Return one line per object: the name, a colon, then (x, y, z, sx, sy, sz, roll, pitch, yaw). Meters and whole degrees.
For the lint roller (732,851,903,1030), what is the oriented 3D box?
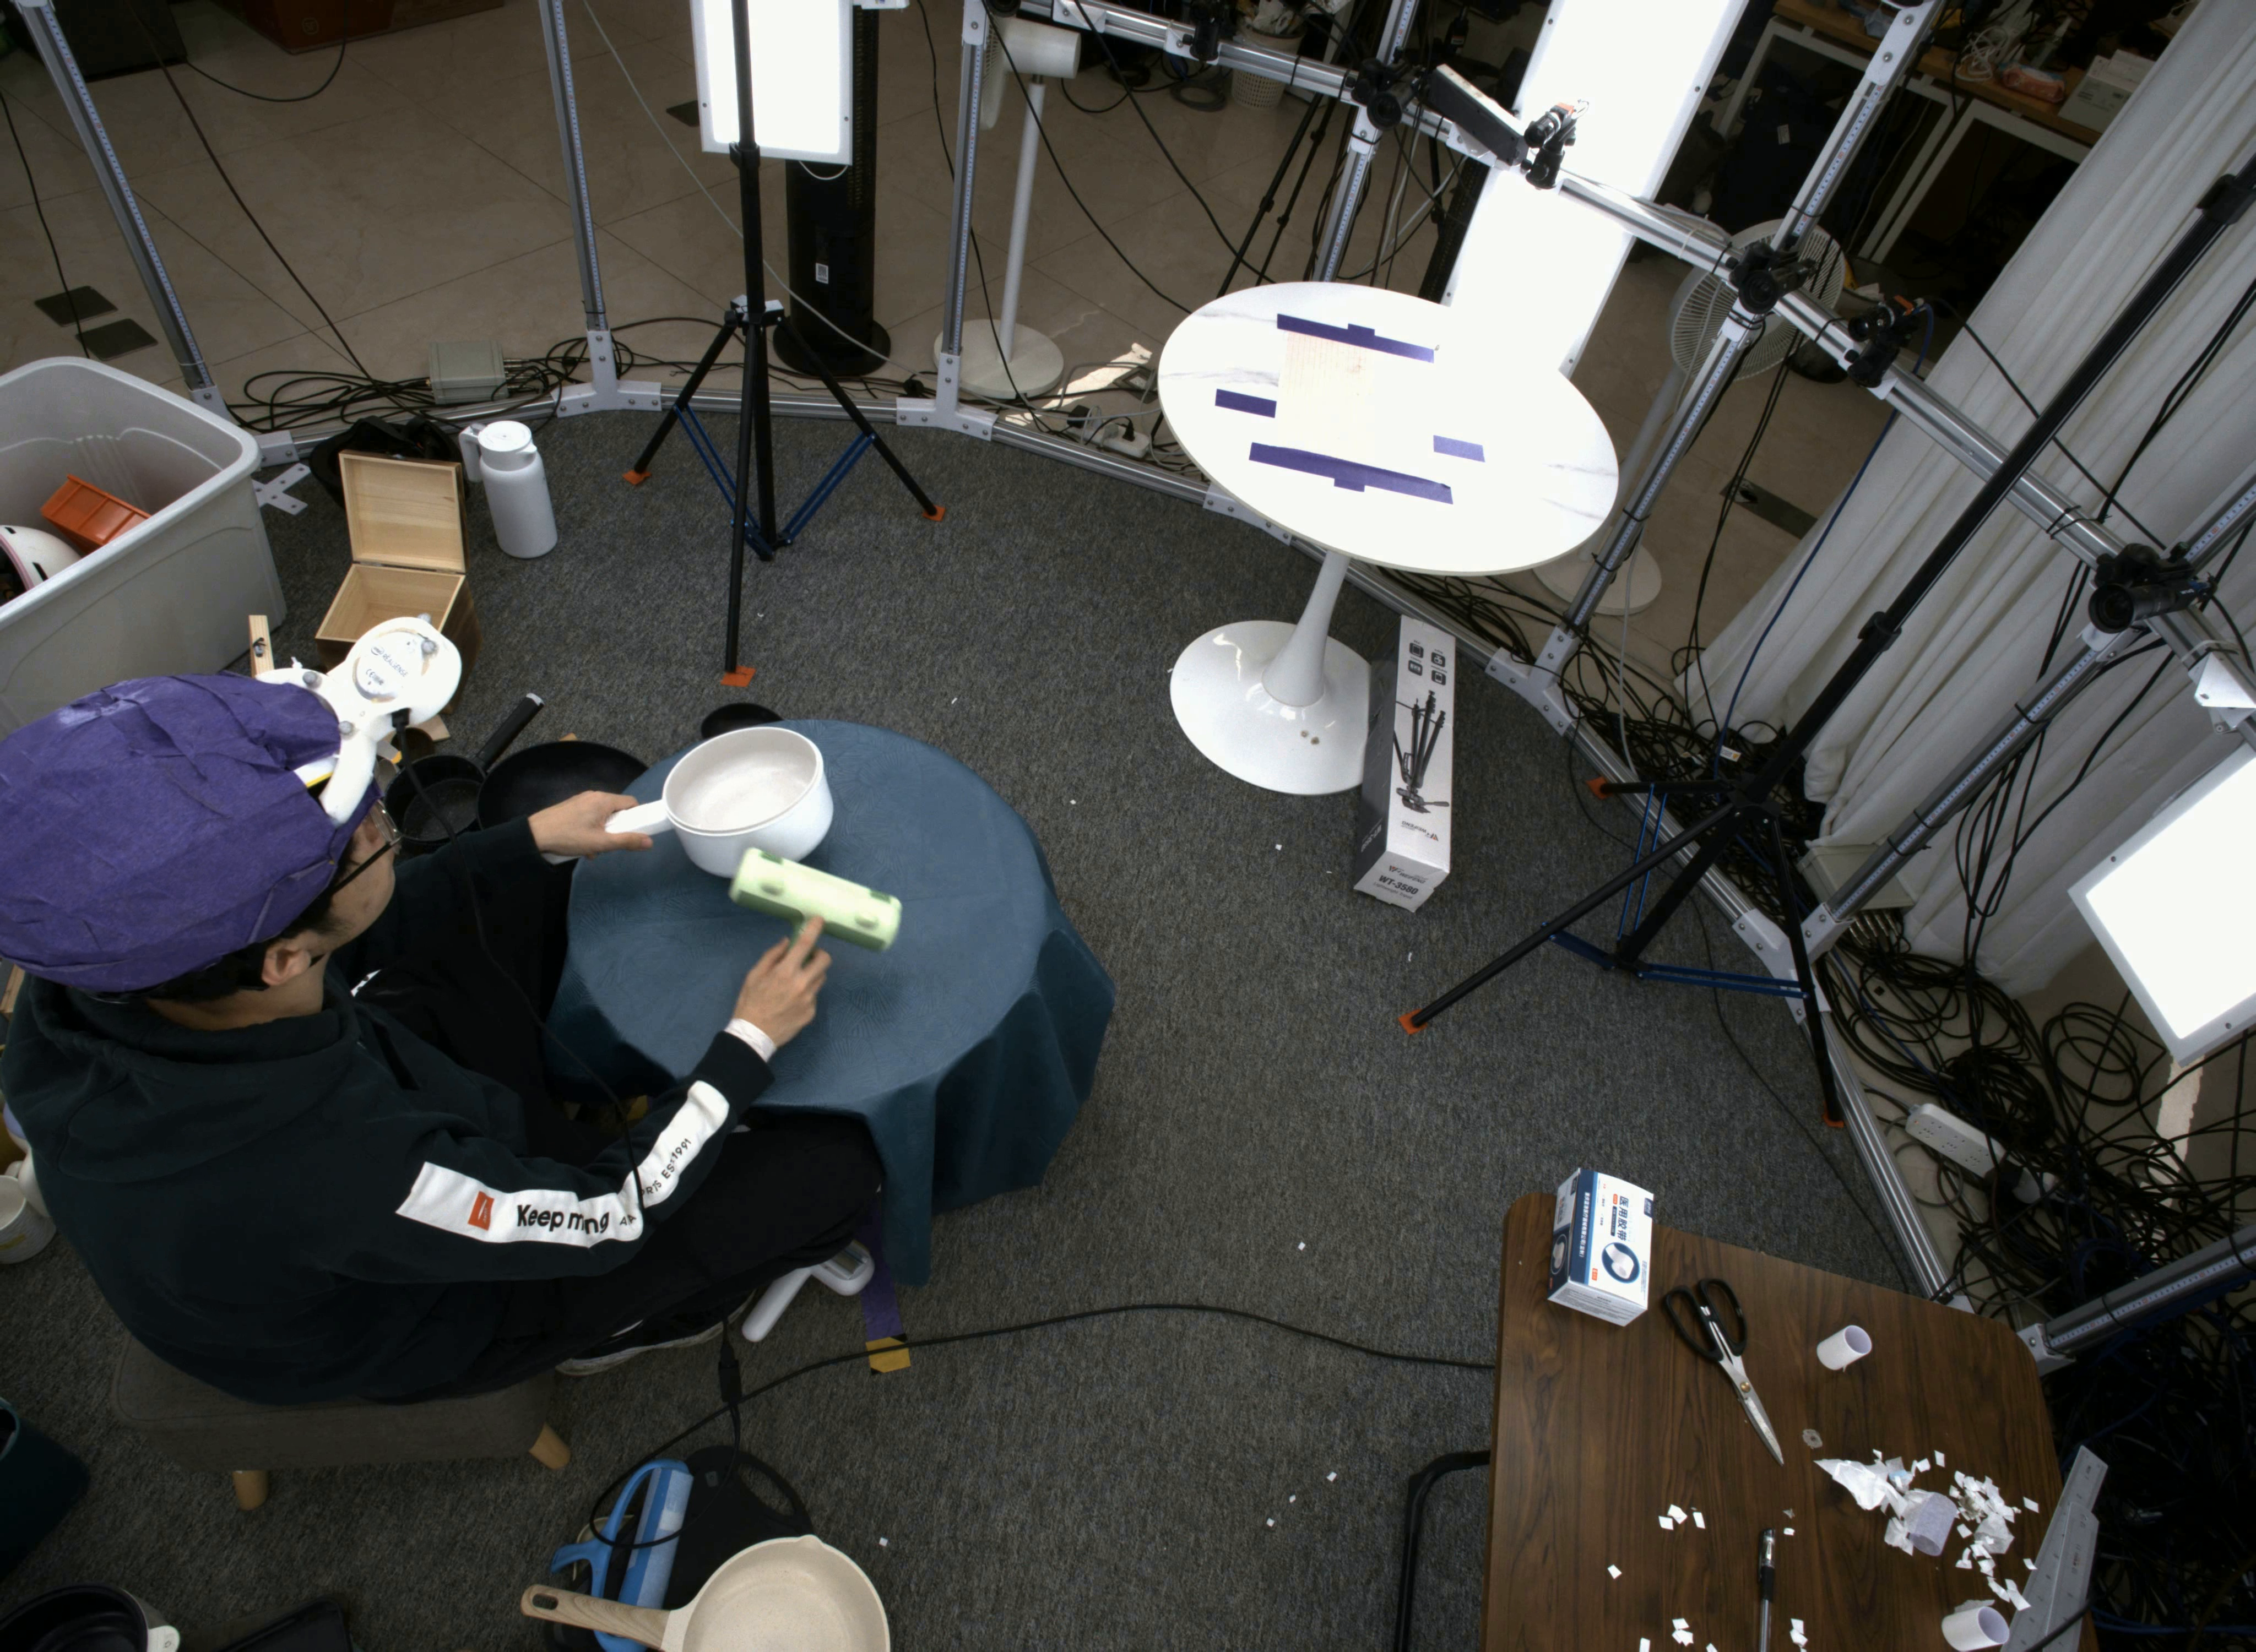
lint roller: (-0.374, 0.141, 1.508, 0.202, 0.081, 0.182, 23, 62, -21)

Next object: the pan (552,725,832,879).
pan: (-0.546, -0.003, 1.614, 0.354, 0.105, 0.194, -19, 46, -13)
